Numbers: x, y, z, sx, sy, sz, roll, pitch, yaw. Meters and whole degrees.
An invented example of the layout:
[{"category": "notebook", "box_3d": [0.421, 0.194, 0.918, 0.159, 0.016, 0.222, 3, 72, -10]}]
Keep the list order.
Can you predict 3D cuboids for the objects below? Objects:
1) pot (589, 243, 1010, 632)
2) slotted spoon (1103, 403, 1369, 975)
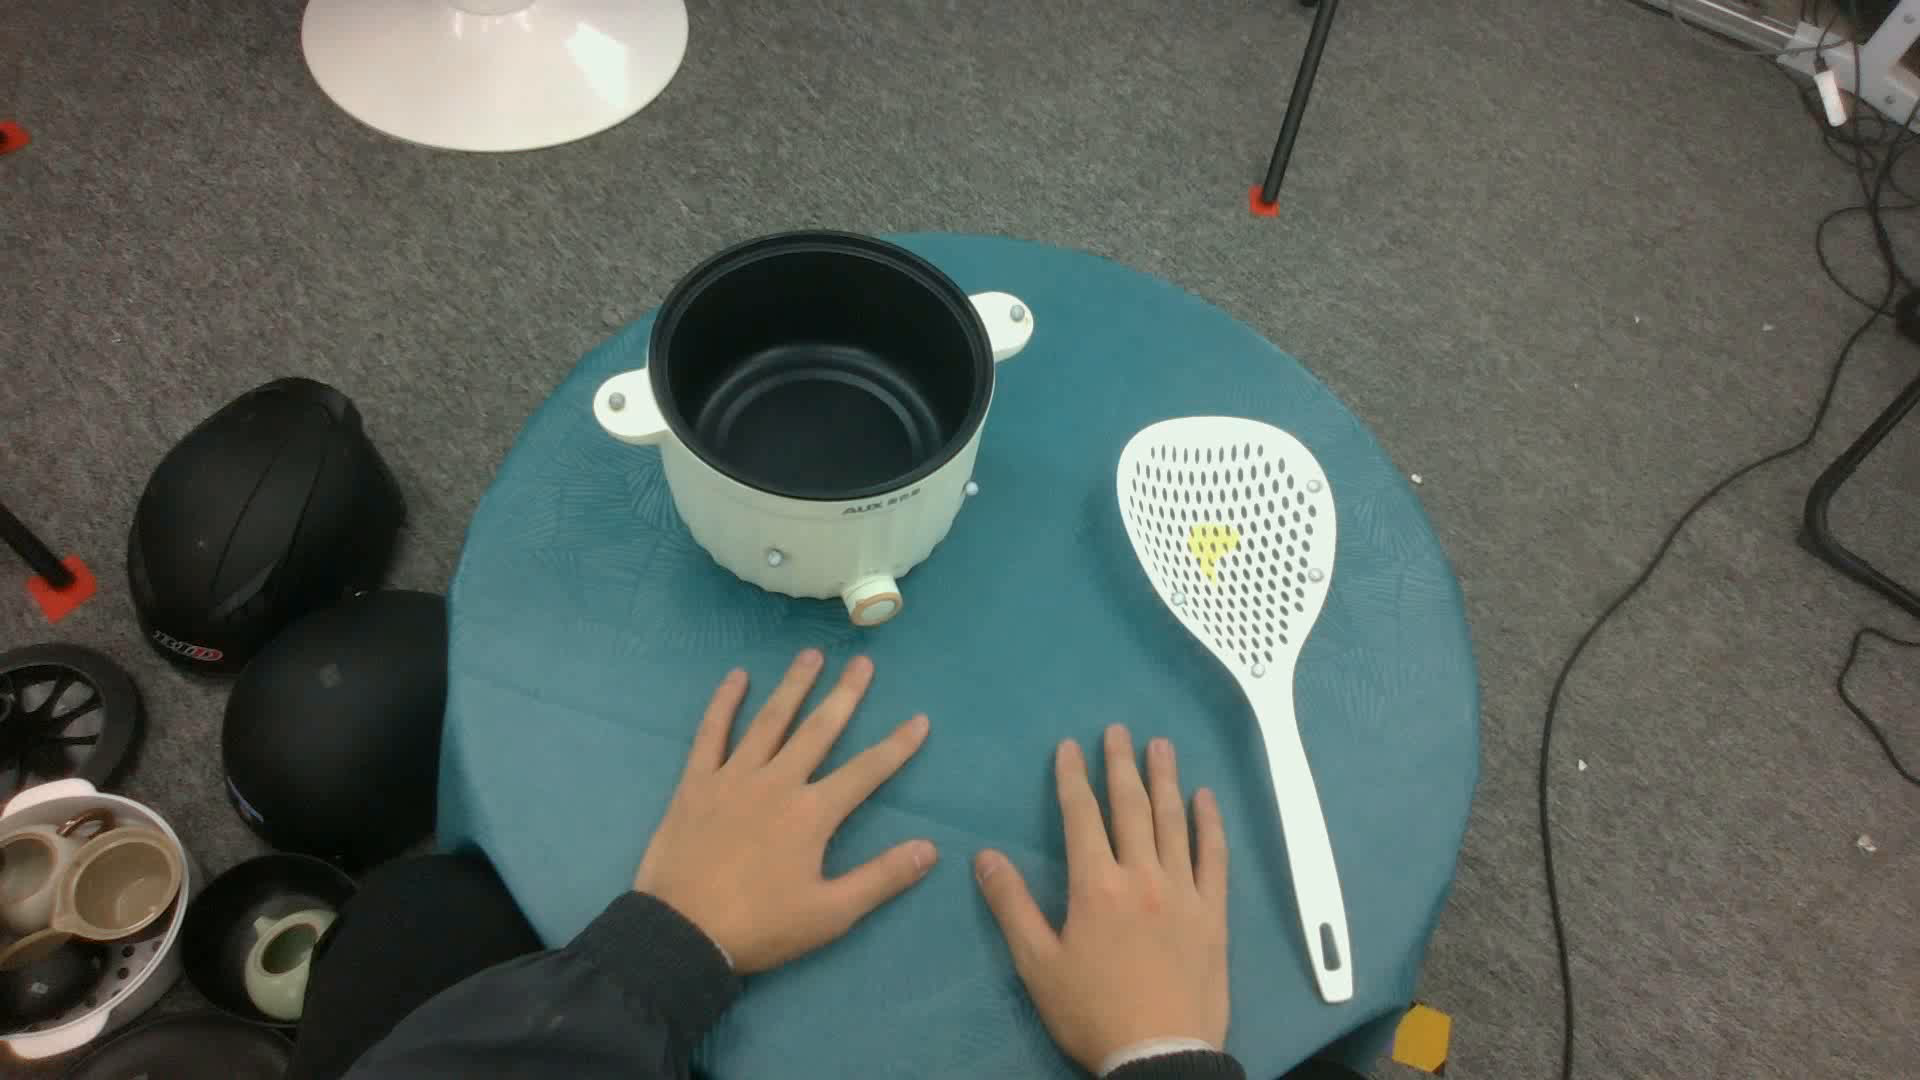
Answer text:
[{"category": "pot", "box_3d": [-0.082, -0.052, 0.790, 0.241, 0.142, 0.191, -20, 59, -16]}, {"category": "slotted spoon", "box_3d": [0.172, 0.071, 0.794, 0.137, 0.050, 0.349, -5, 58, -11]}]
